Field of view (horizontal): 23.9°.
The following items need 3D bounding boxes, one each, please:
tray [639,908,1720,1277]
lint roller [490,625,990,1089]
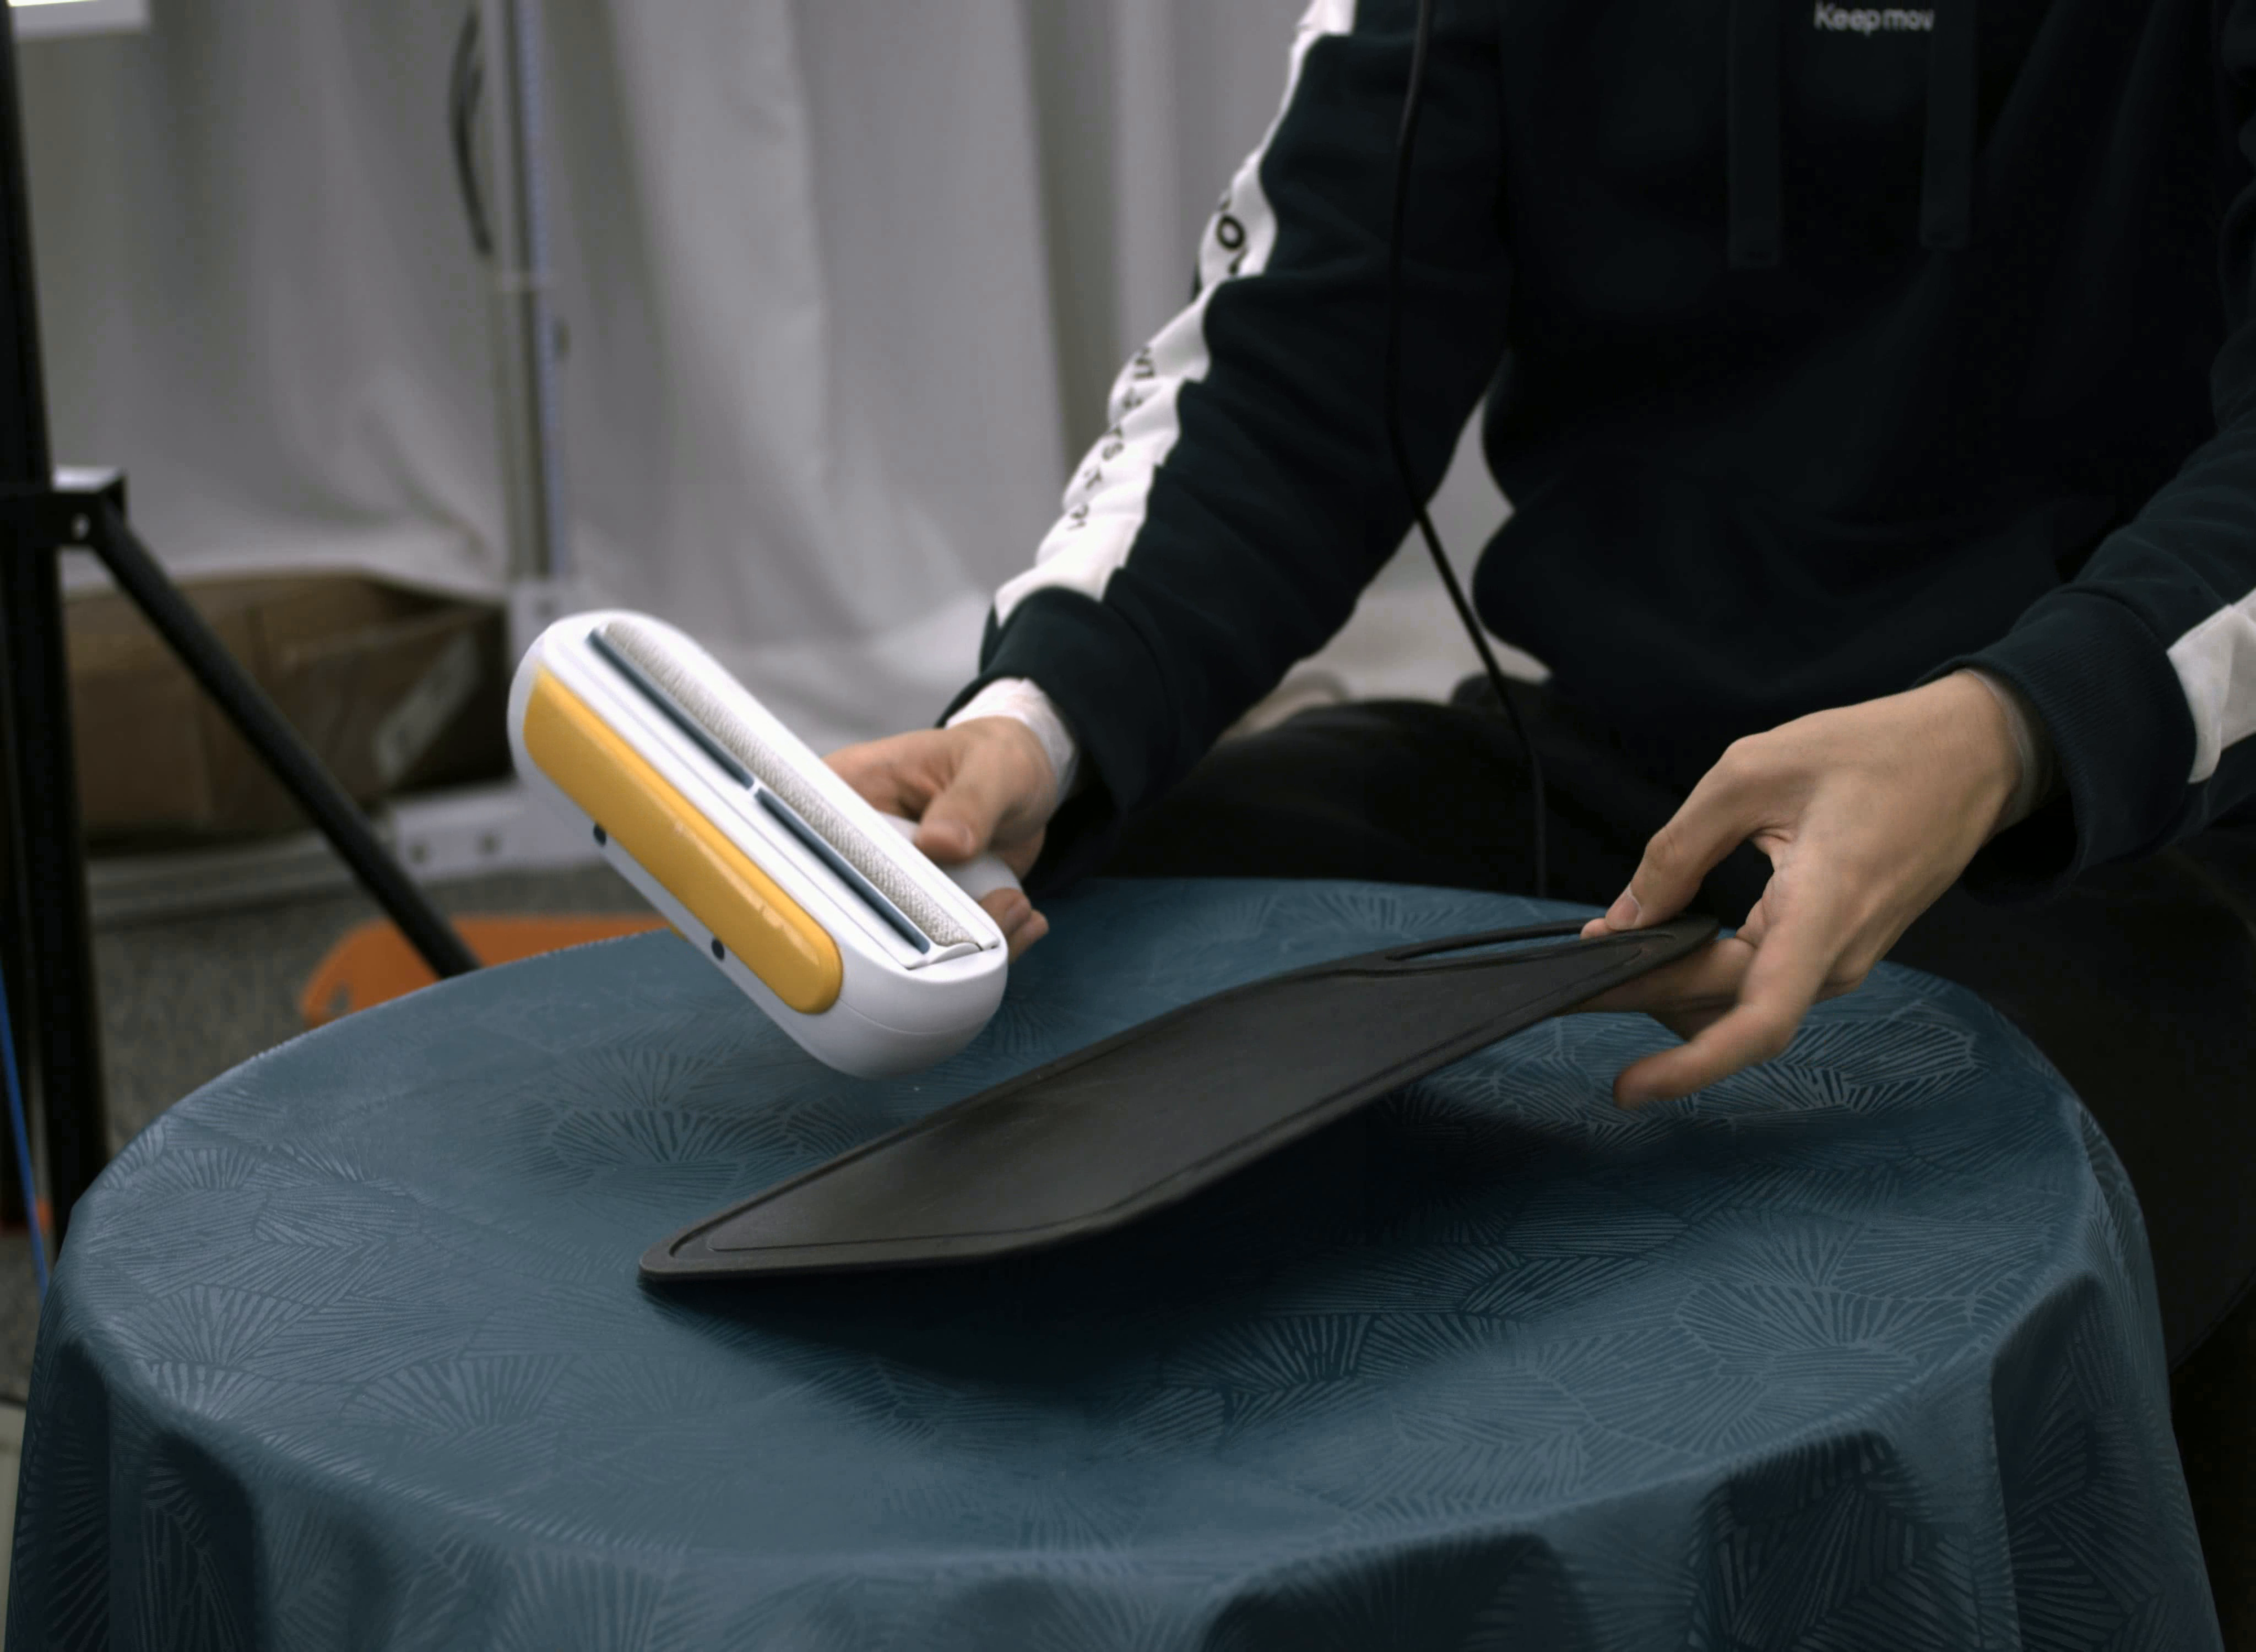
[{"bbox_3d":[0.023,0.073,1.541,0.318,0.010,0.215,-22,9,-42],"label":"tray"},{"bbox_3d":[-0.097,0.025,1.686,0.197,0.074,0.187,40,11,34],"label":"lint roller"}]
